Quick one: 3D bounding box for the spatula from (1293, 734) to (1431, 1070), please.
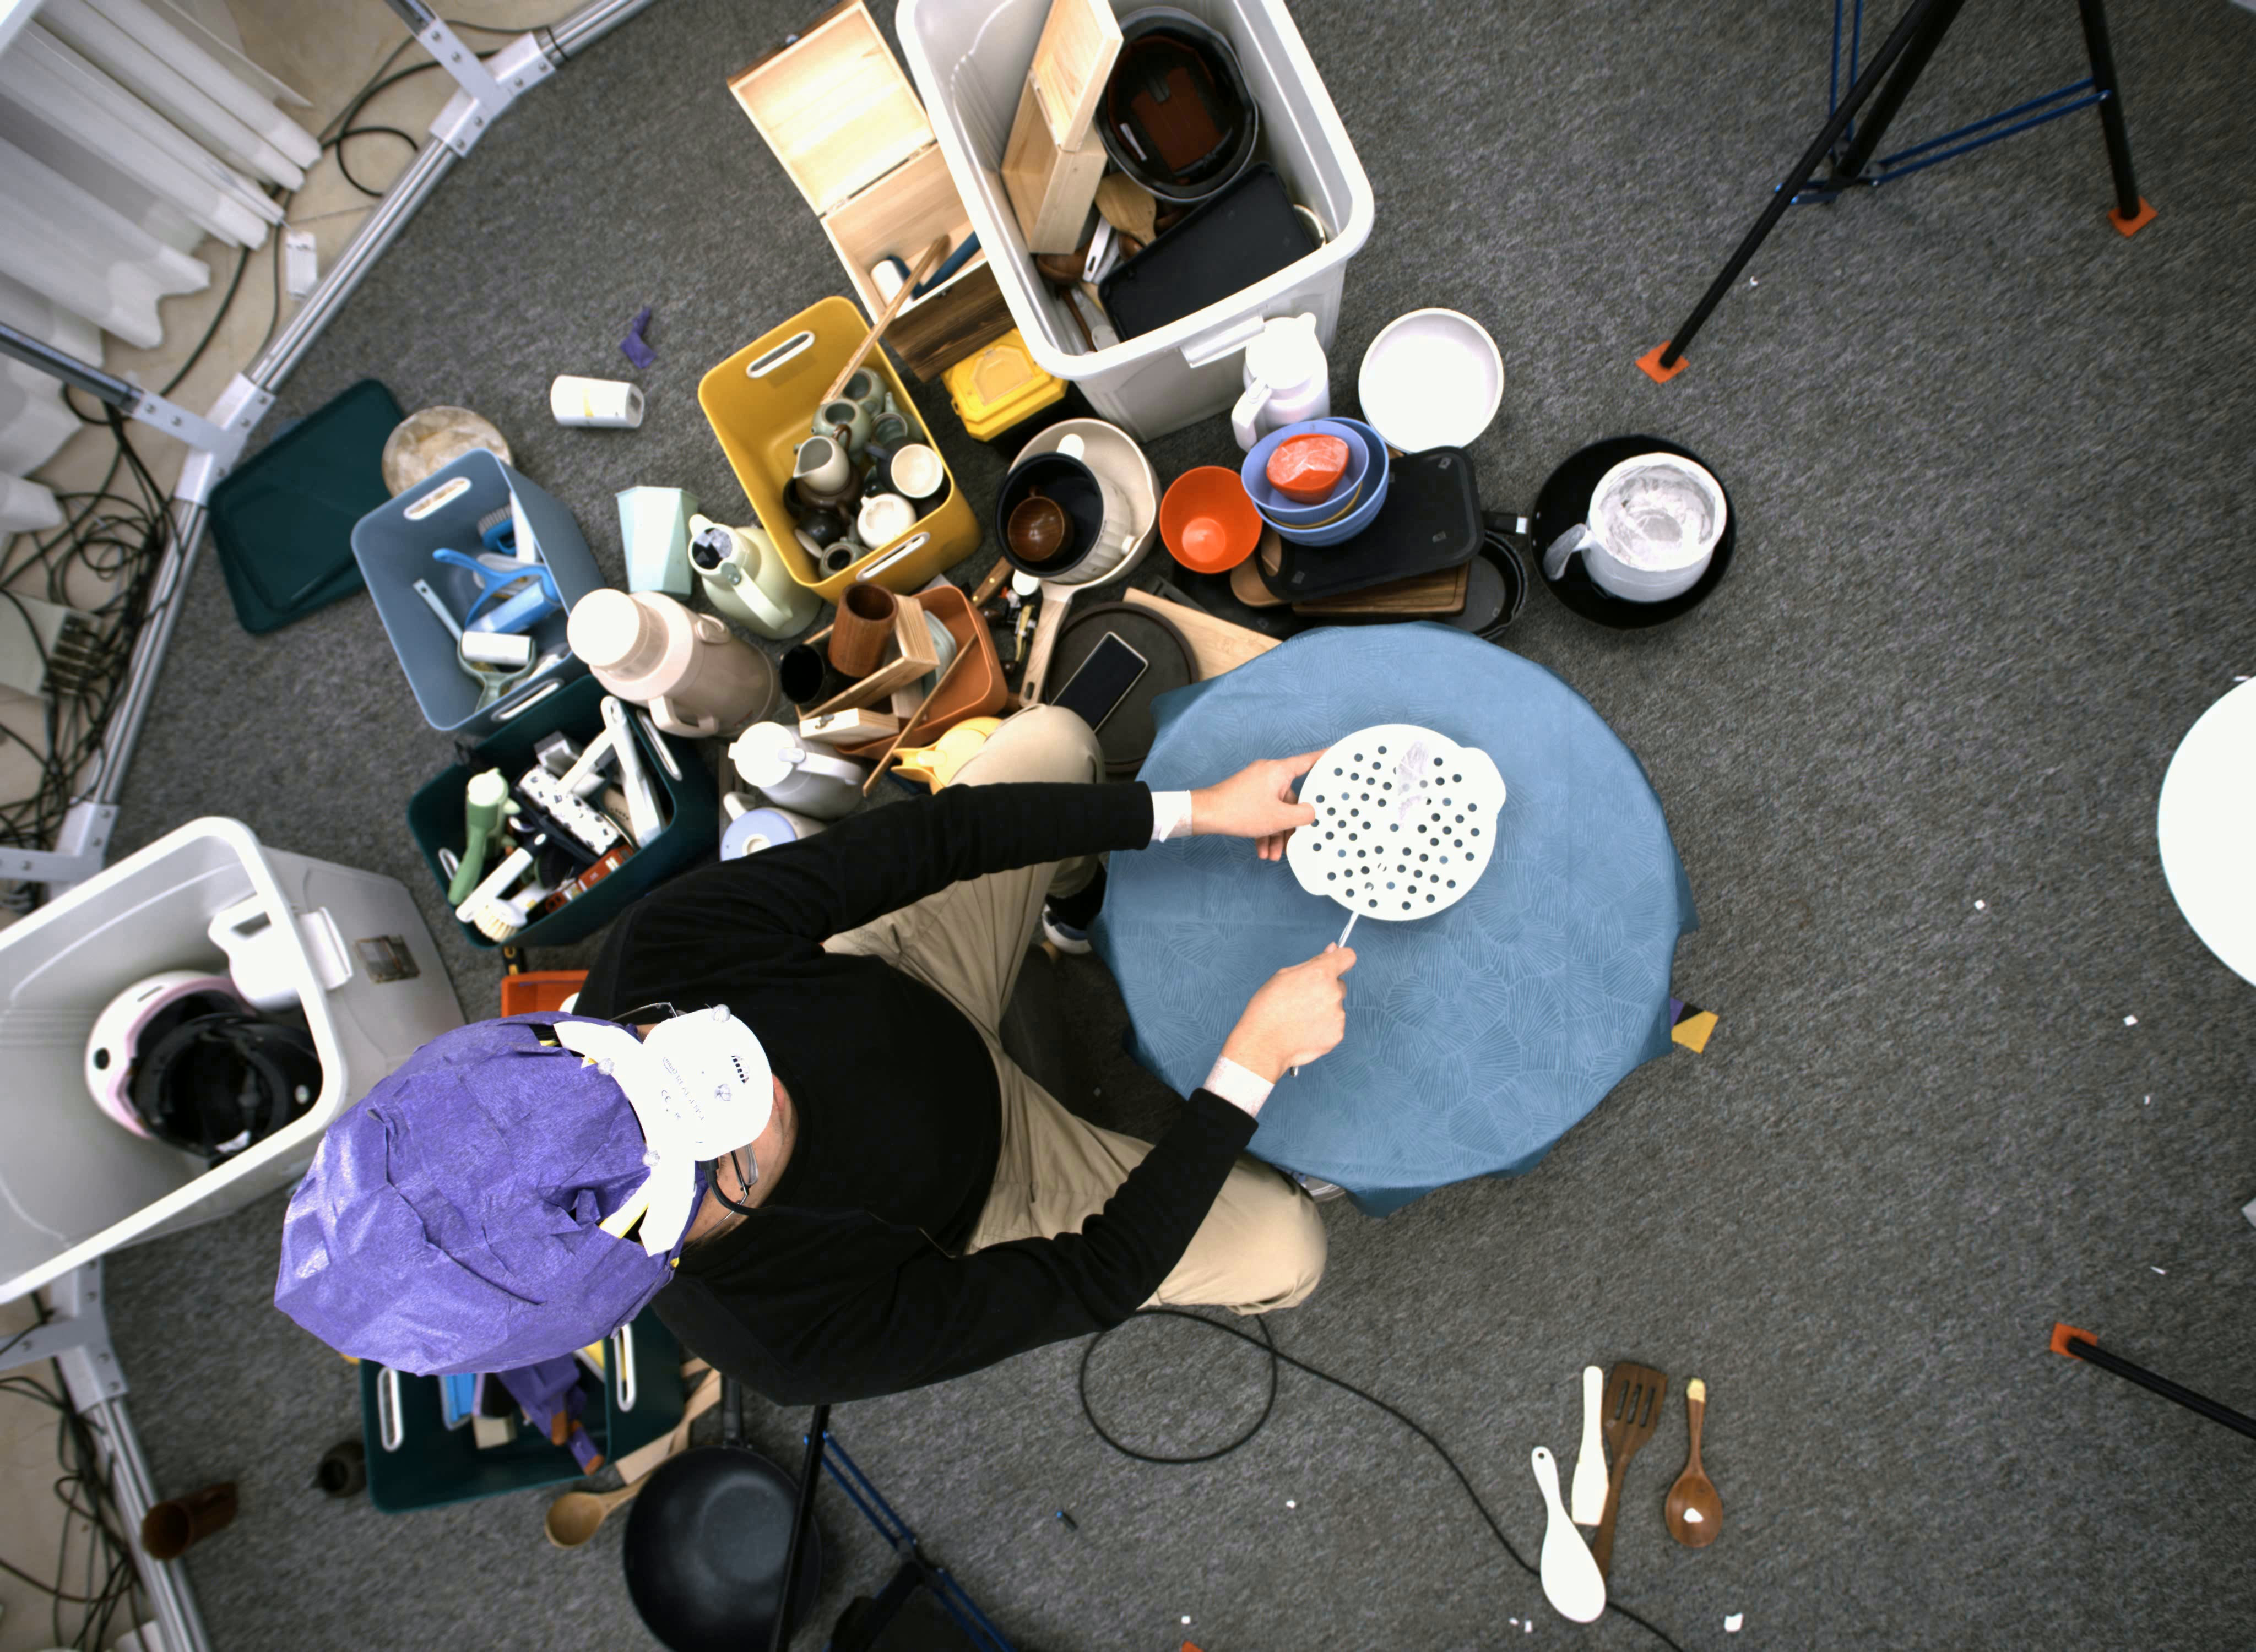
[{"bbox_3d":[0.229,0.070,1.374,0.045,0.100,0.360,30,76,-3],"label":"spatula"}]

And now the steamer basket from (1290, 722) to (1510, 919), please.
[{"bbox_3d":[0.281,-0.005,1.427,0.232,0.069,0.200,-26,81,9],"label":"steamer basket"}]
